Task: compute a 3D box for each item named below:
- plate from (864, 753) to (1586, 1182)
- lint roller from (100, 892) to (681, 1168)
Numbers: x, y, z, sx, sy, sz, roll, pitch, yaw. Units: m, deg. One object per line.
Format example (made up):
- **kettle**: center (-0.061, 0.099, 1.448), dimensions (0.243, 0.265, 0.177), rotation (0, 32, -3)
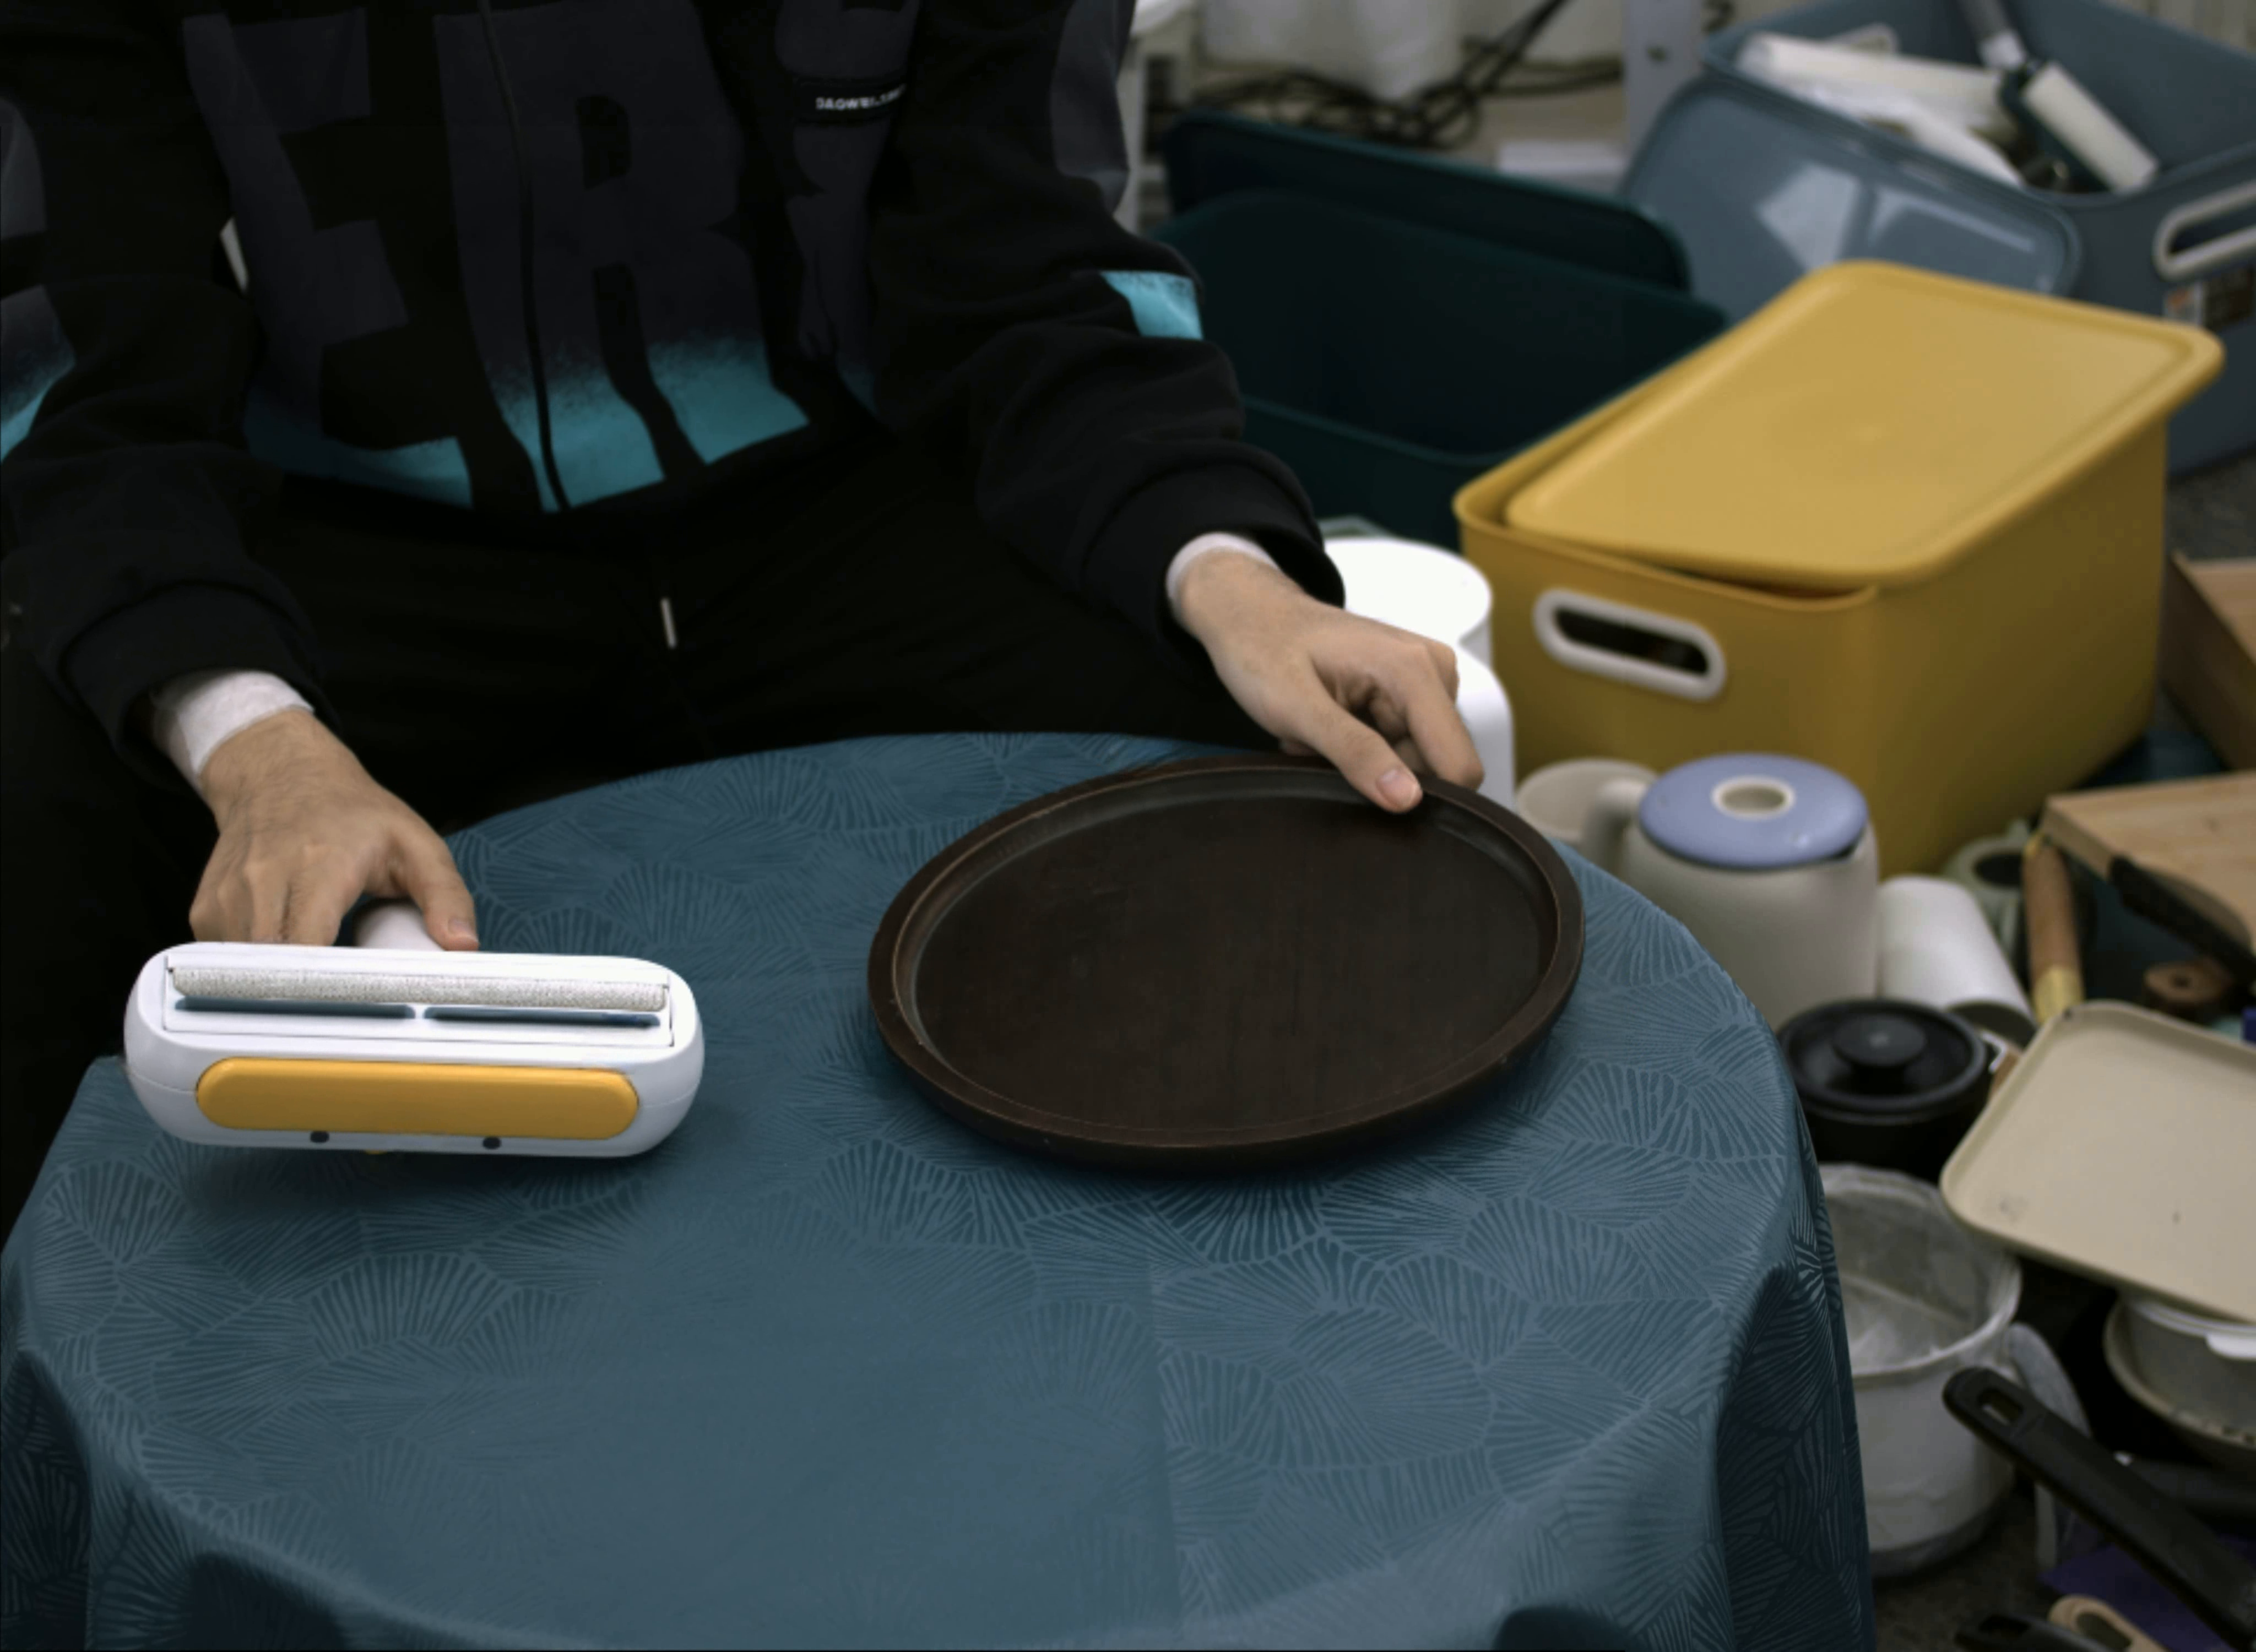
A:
- **plate**: center (0.034, 0.048, 1.958), dimensions (0.253, 0.029, 0.259), rotation (-6, 30, 3)
- **lint roller**: center (-0.251, 0.057, 1.937), dimensions (0.192, 0.073, 0.195), rotation (1, 25, -6)
